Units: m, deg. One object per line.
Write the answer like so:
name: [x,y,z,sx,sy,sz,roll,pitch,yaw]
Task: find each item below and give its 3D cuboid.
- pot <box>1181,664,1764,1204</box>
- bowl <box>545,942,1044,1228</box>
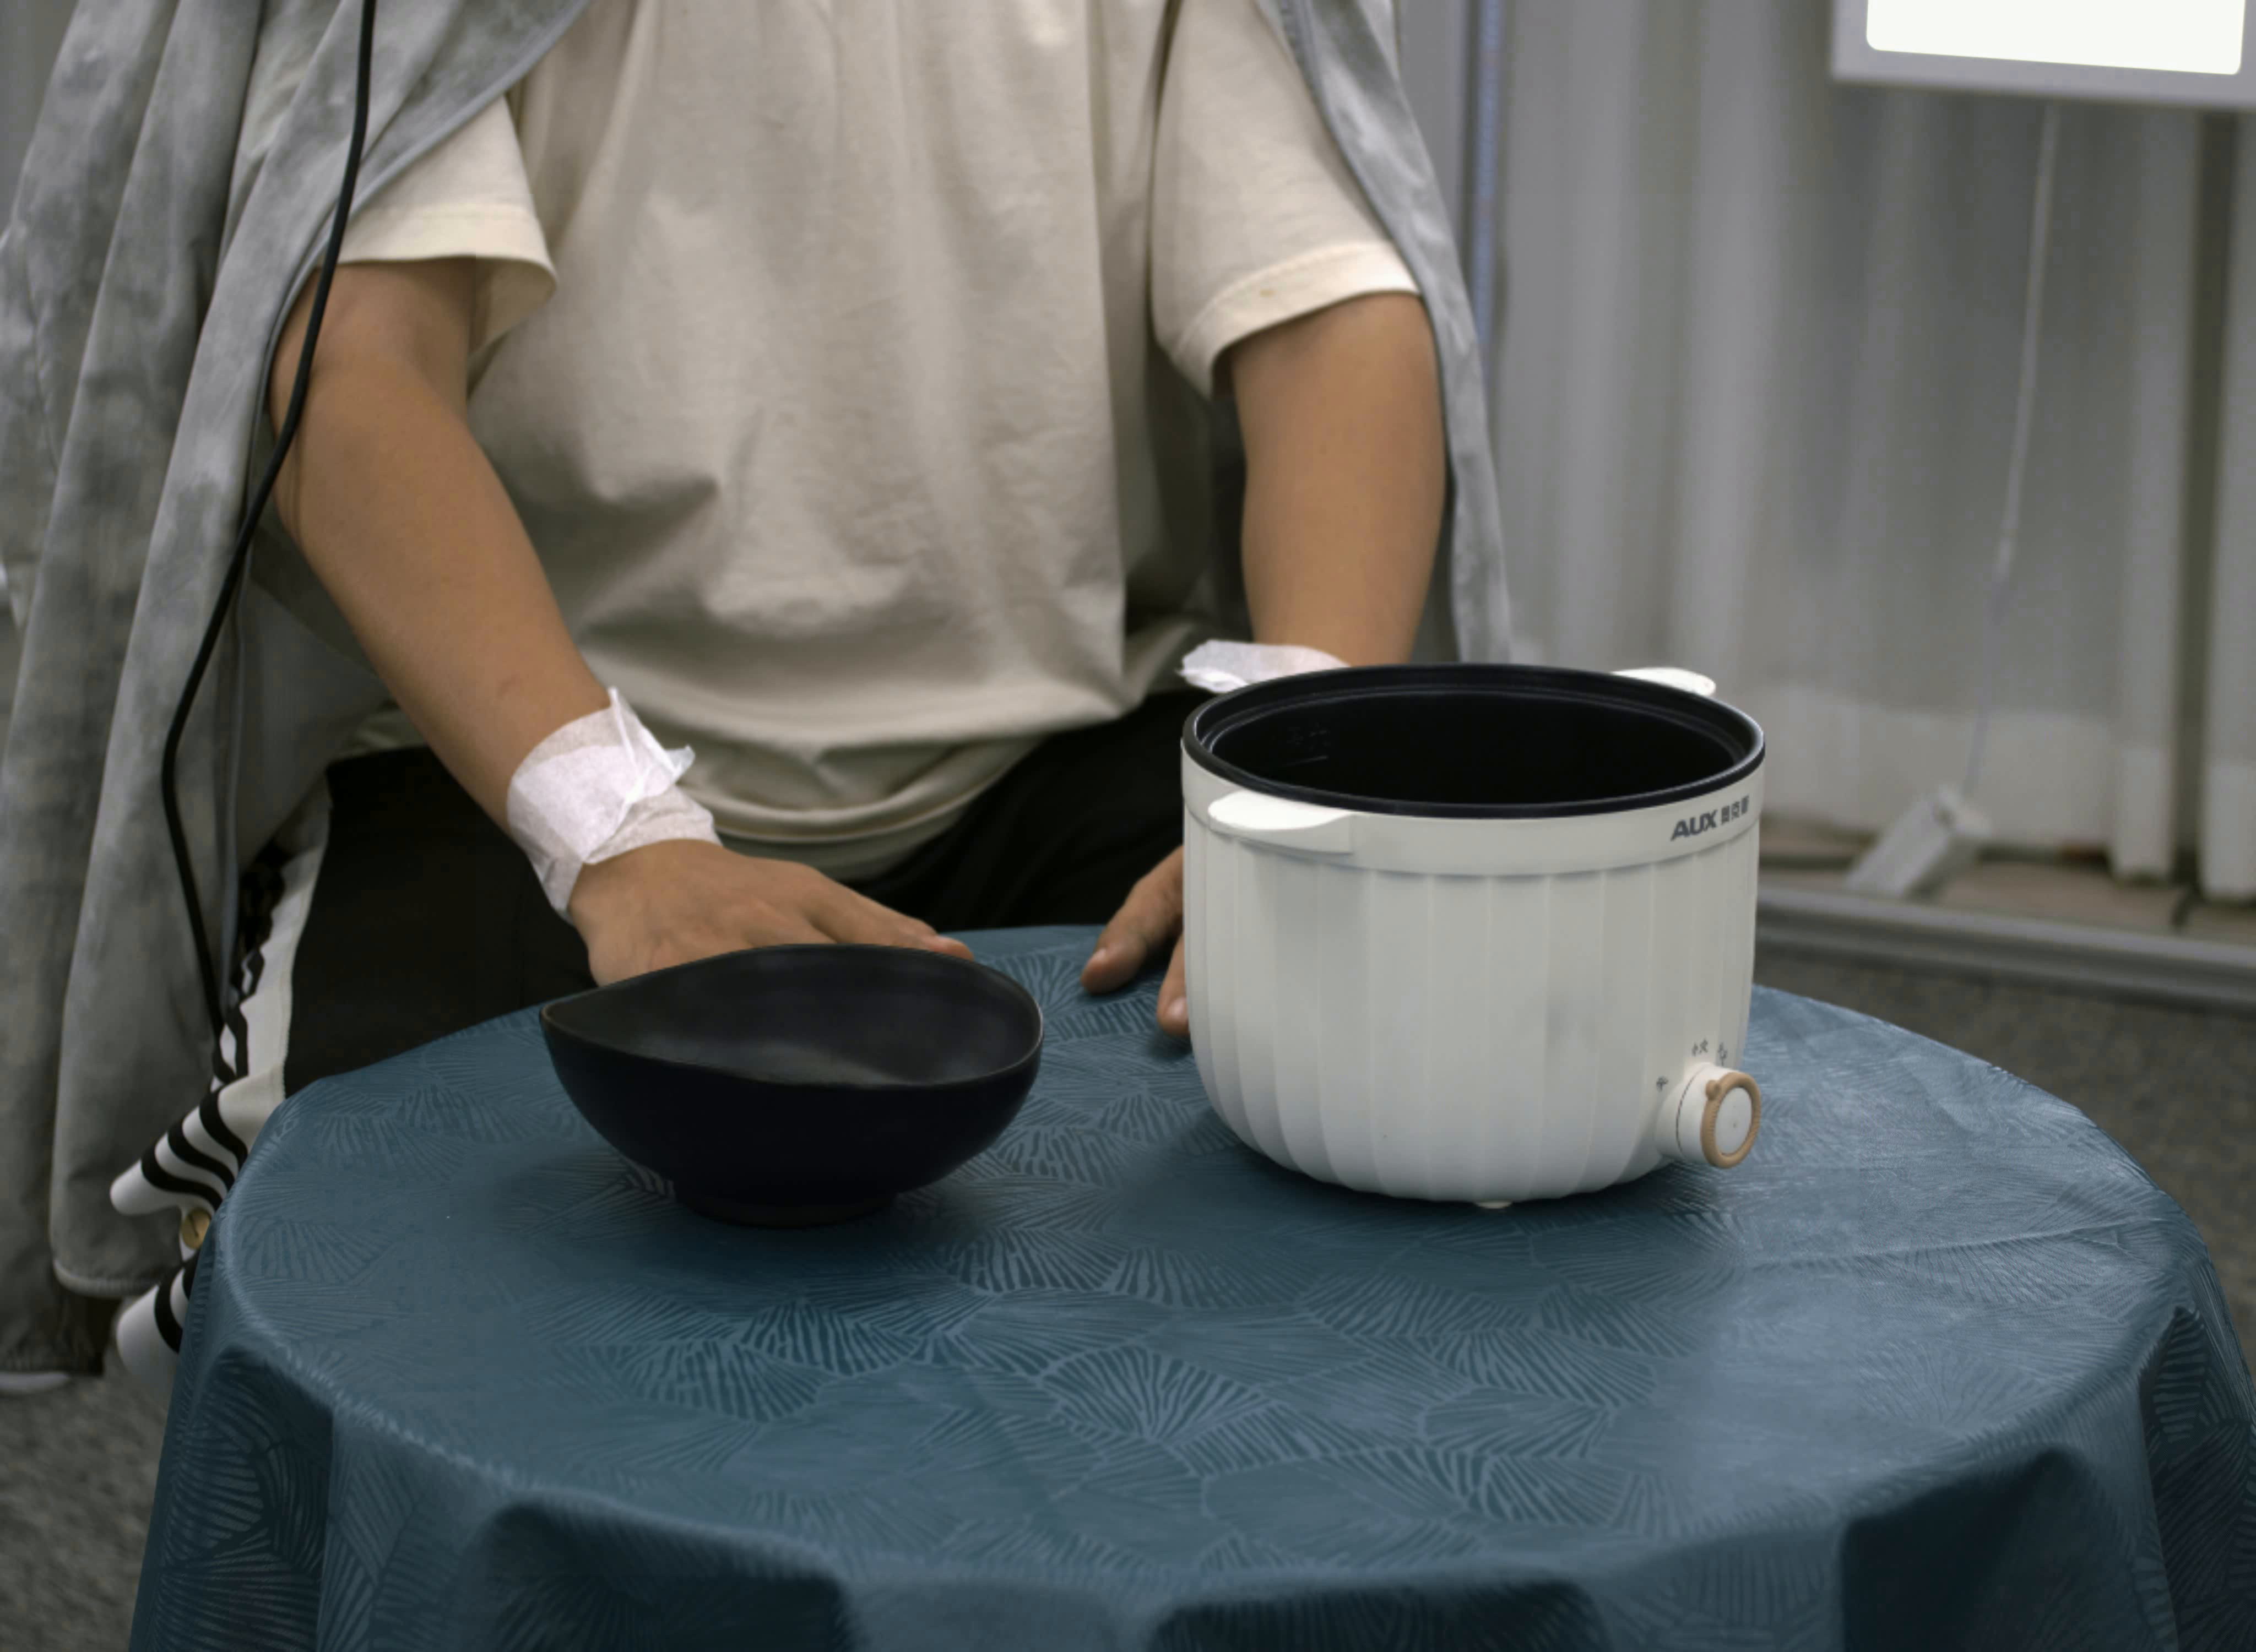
pot: [0.112,0.035,1.650,0.188,0.144,0.241,8,18,37]
bowl: [-0.104,0.083,1.607,0.168,0.067,0.138,11,18,36]
